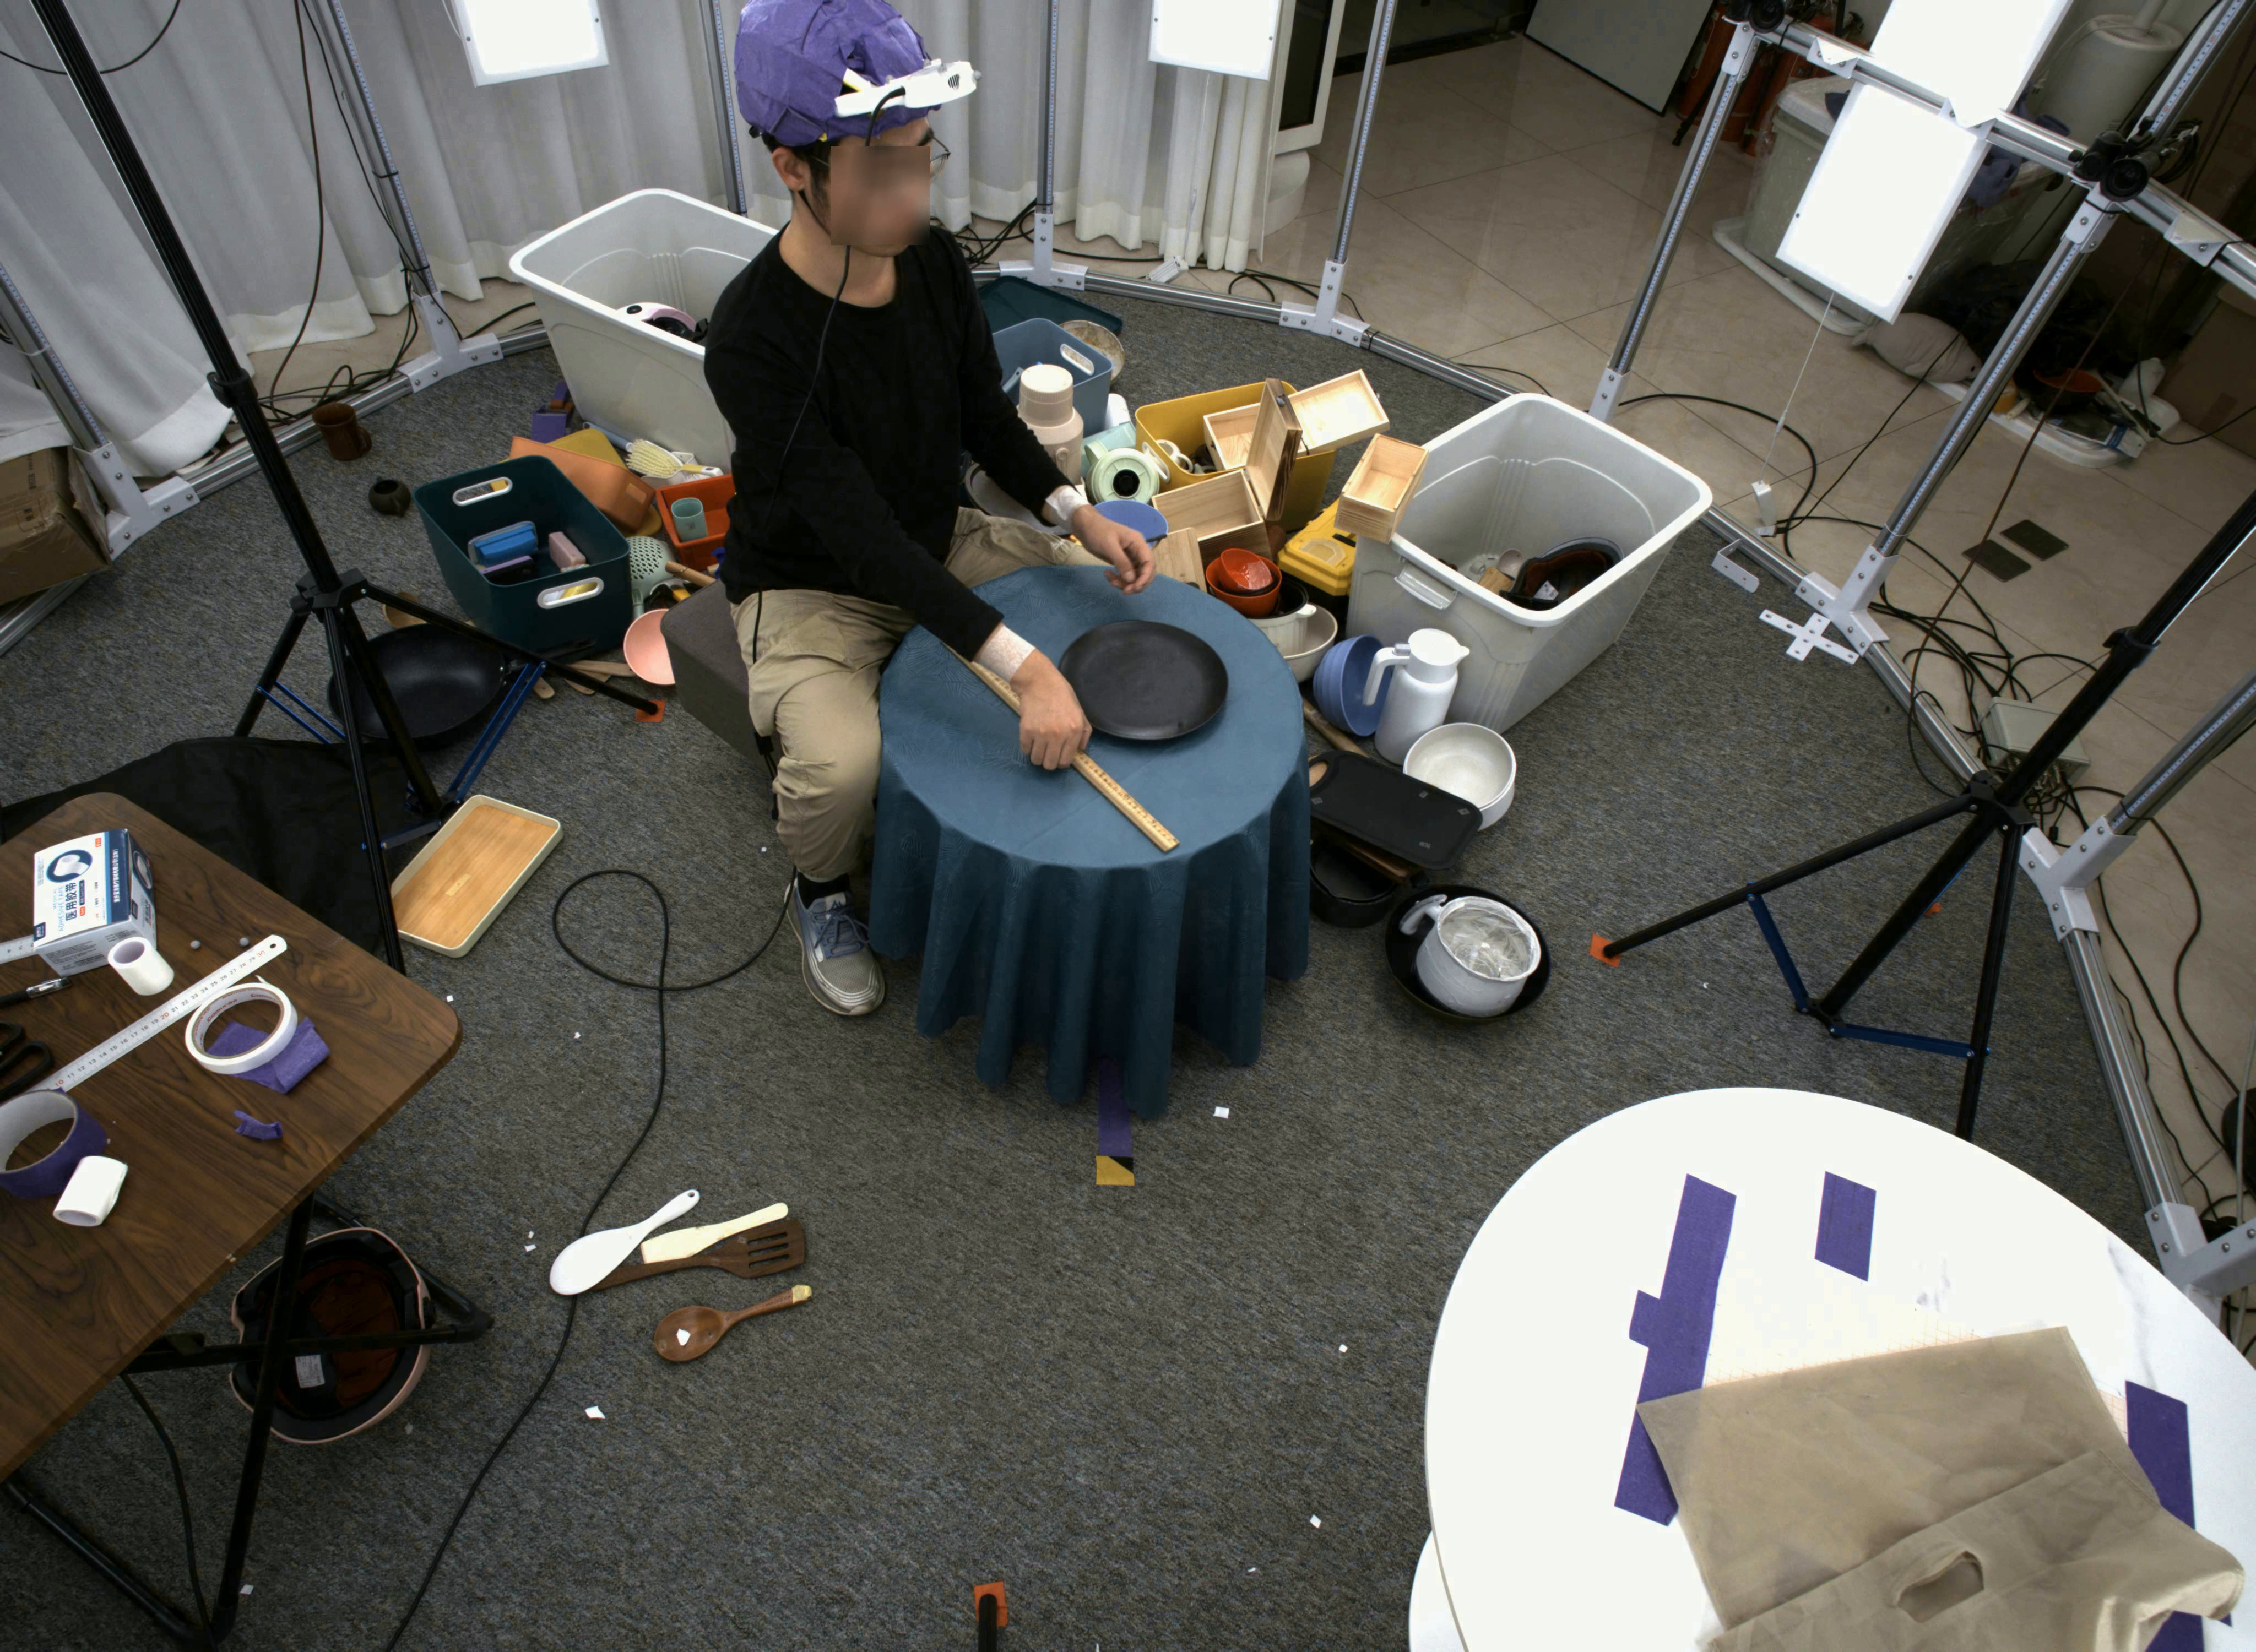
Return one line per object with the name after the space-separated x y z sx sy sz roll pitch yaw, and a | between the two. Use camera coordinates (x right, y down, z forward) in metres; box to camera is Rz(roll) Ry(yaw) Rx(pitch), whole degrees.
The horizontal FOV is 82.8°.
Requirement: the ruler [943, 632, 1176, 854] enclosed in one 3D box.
-0.103 -0.125 1.768 0.027 0.006 0.509 -29 56 -27 | ruler

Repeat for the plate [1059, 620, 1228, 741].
0.022 -0.206 1.835 0.244 0.023 0.250 2 49 -2 | plate
